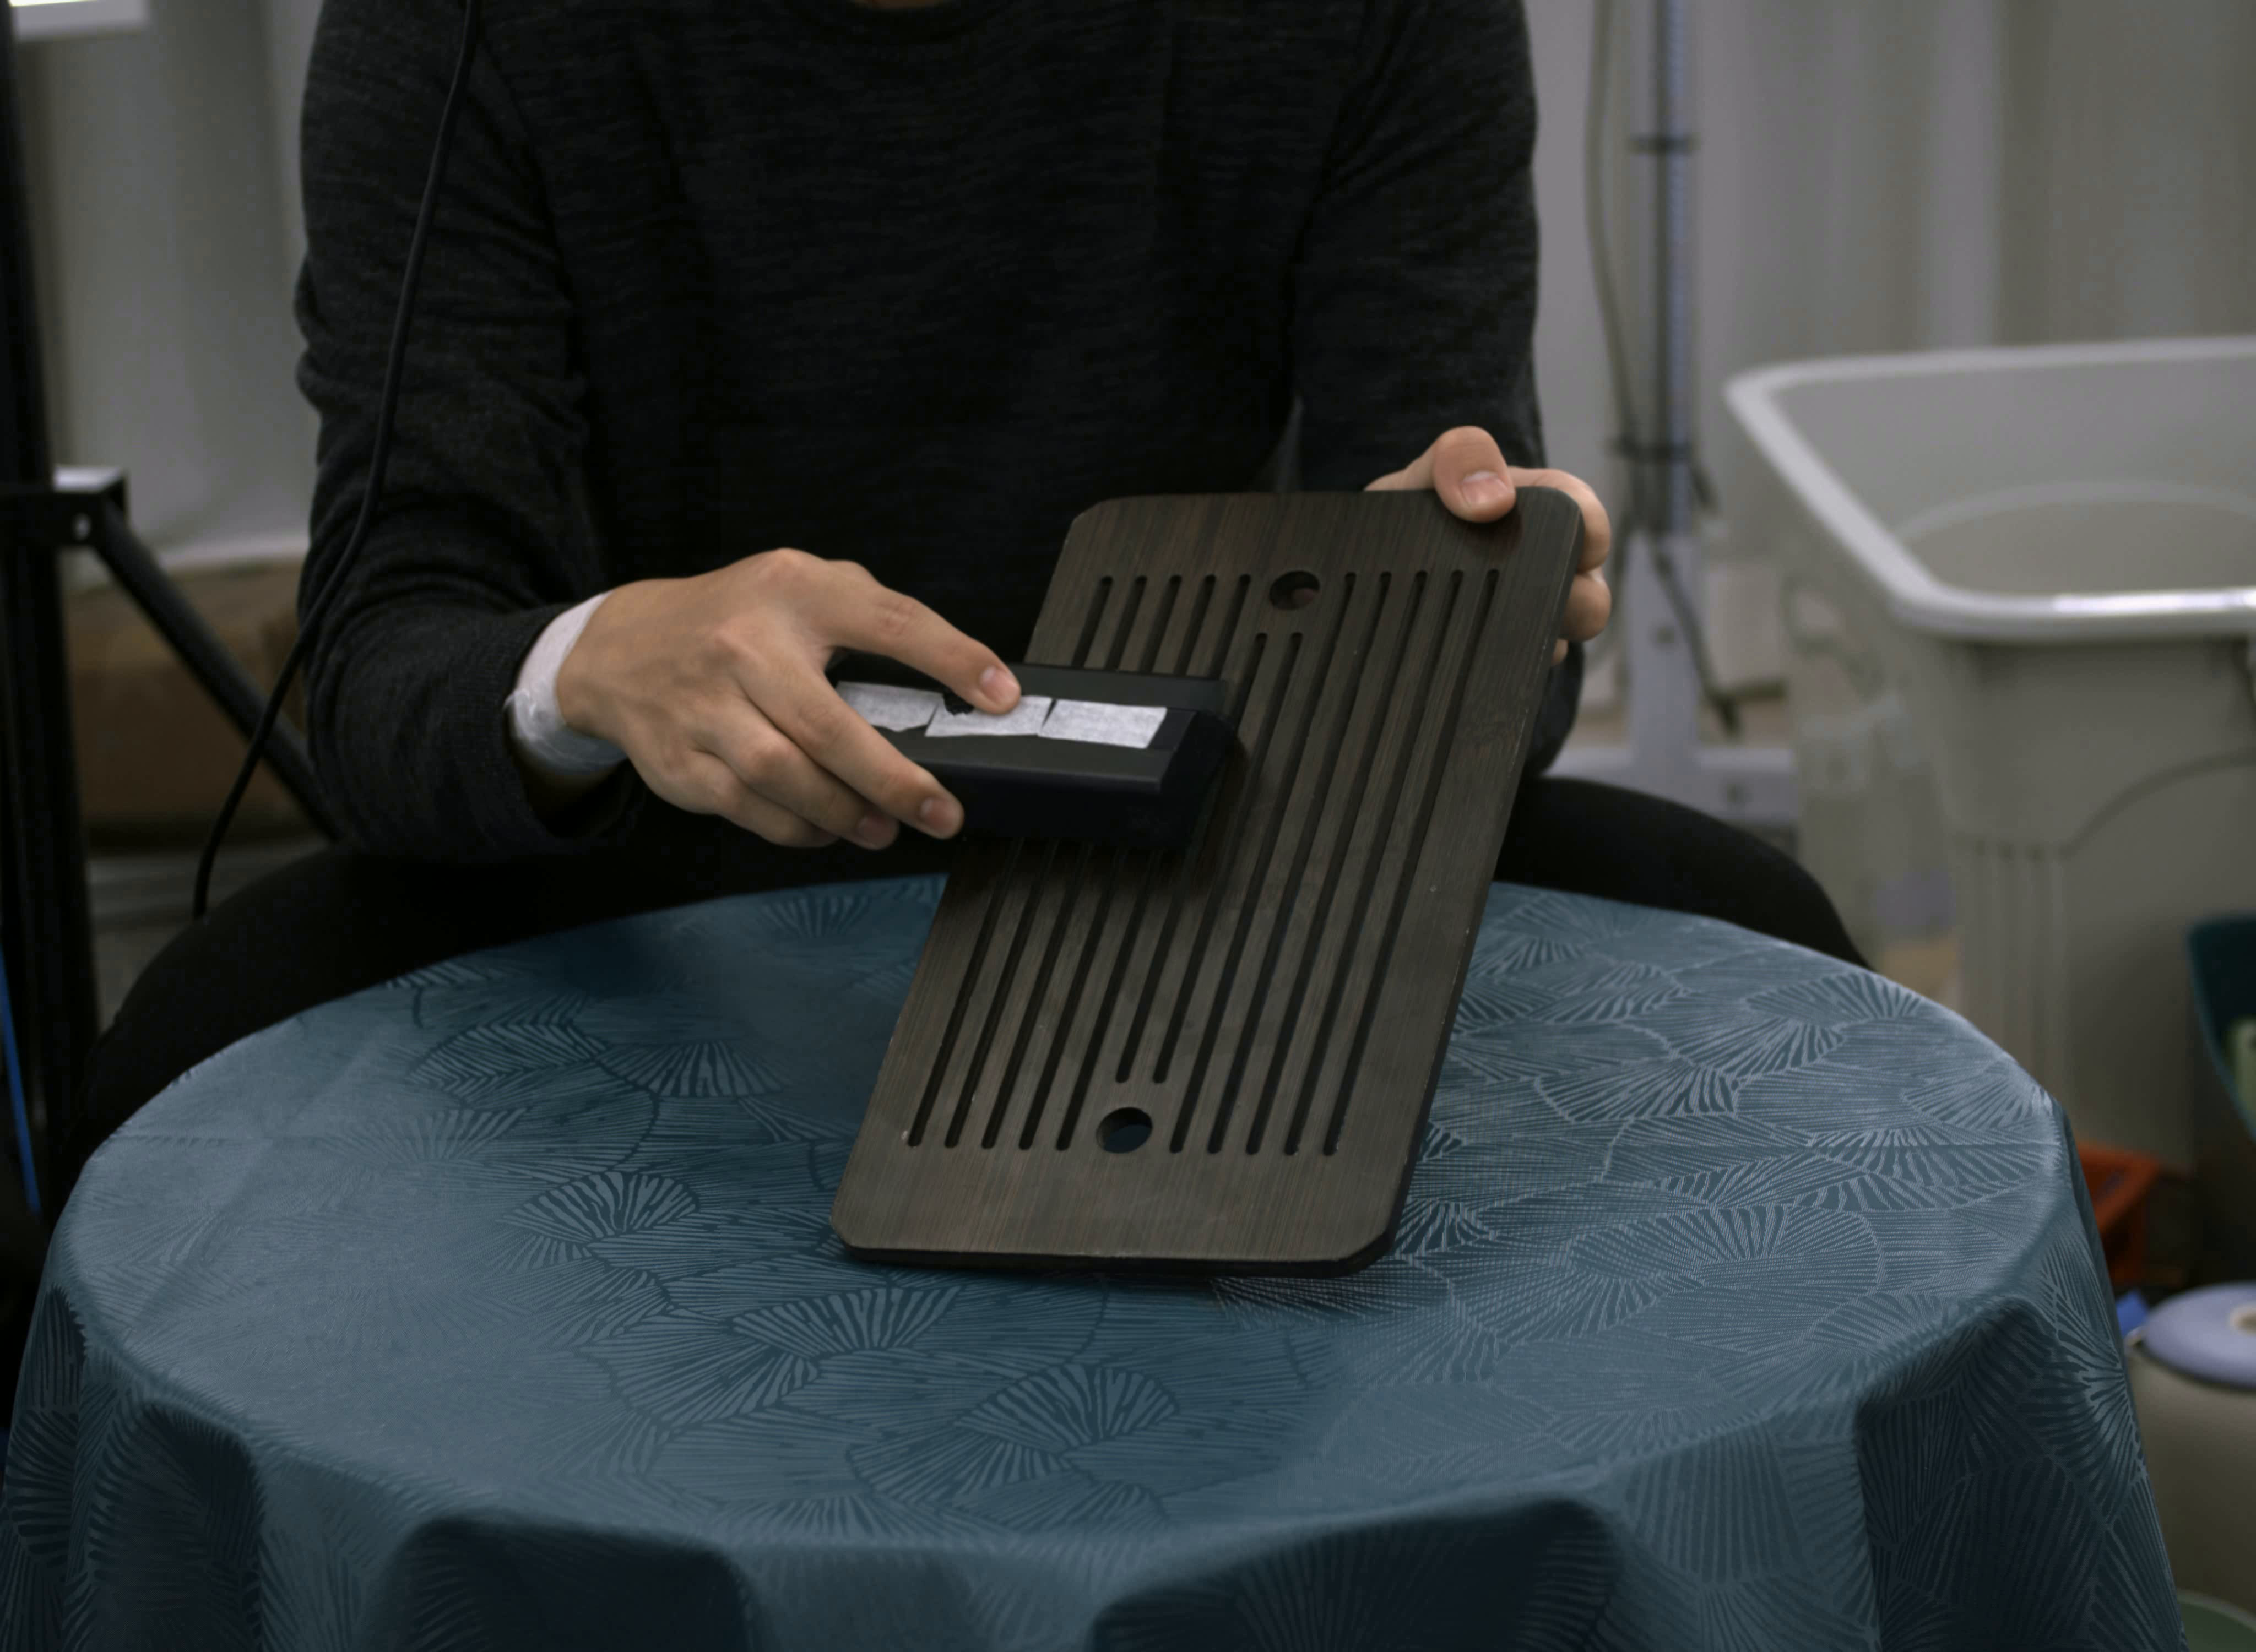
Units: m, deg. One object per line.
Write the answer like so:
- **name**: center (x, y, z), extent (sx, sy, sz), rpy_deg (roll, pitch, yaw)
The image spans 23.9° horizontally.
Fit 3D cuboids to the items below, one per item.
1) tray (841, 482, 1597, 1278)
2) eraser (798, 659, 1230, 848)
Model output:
- **tray**: center (0.033, 0.012, 1.576), extent (0.172, 0.018, 0.306), rpy_deg (-1, 47, 23)
- **eraser**: center (-0.033, -0.023, 1.607), extent (0.127, 0.030, 0.053), rpy_deg (3, 45, 26)
